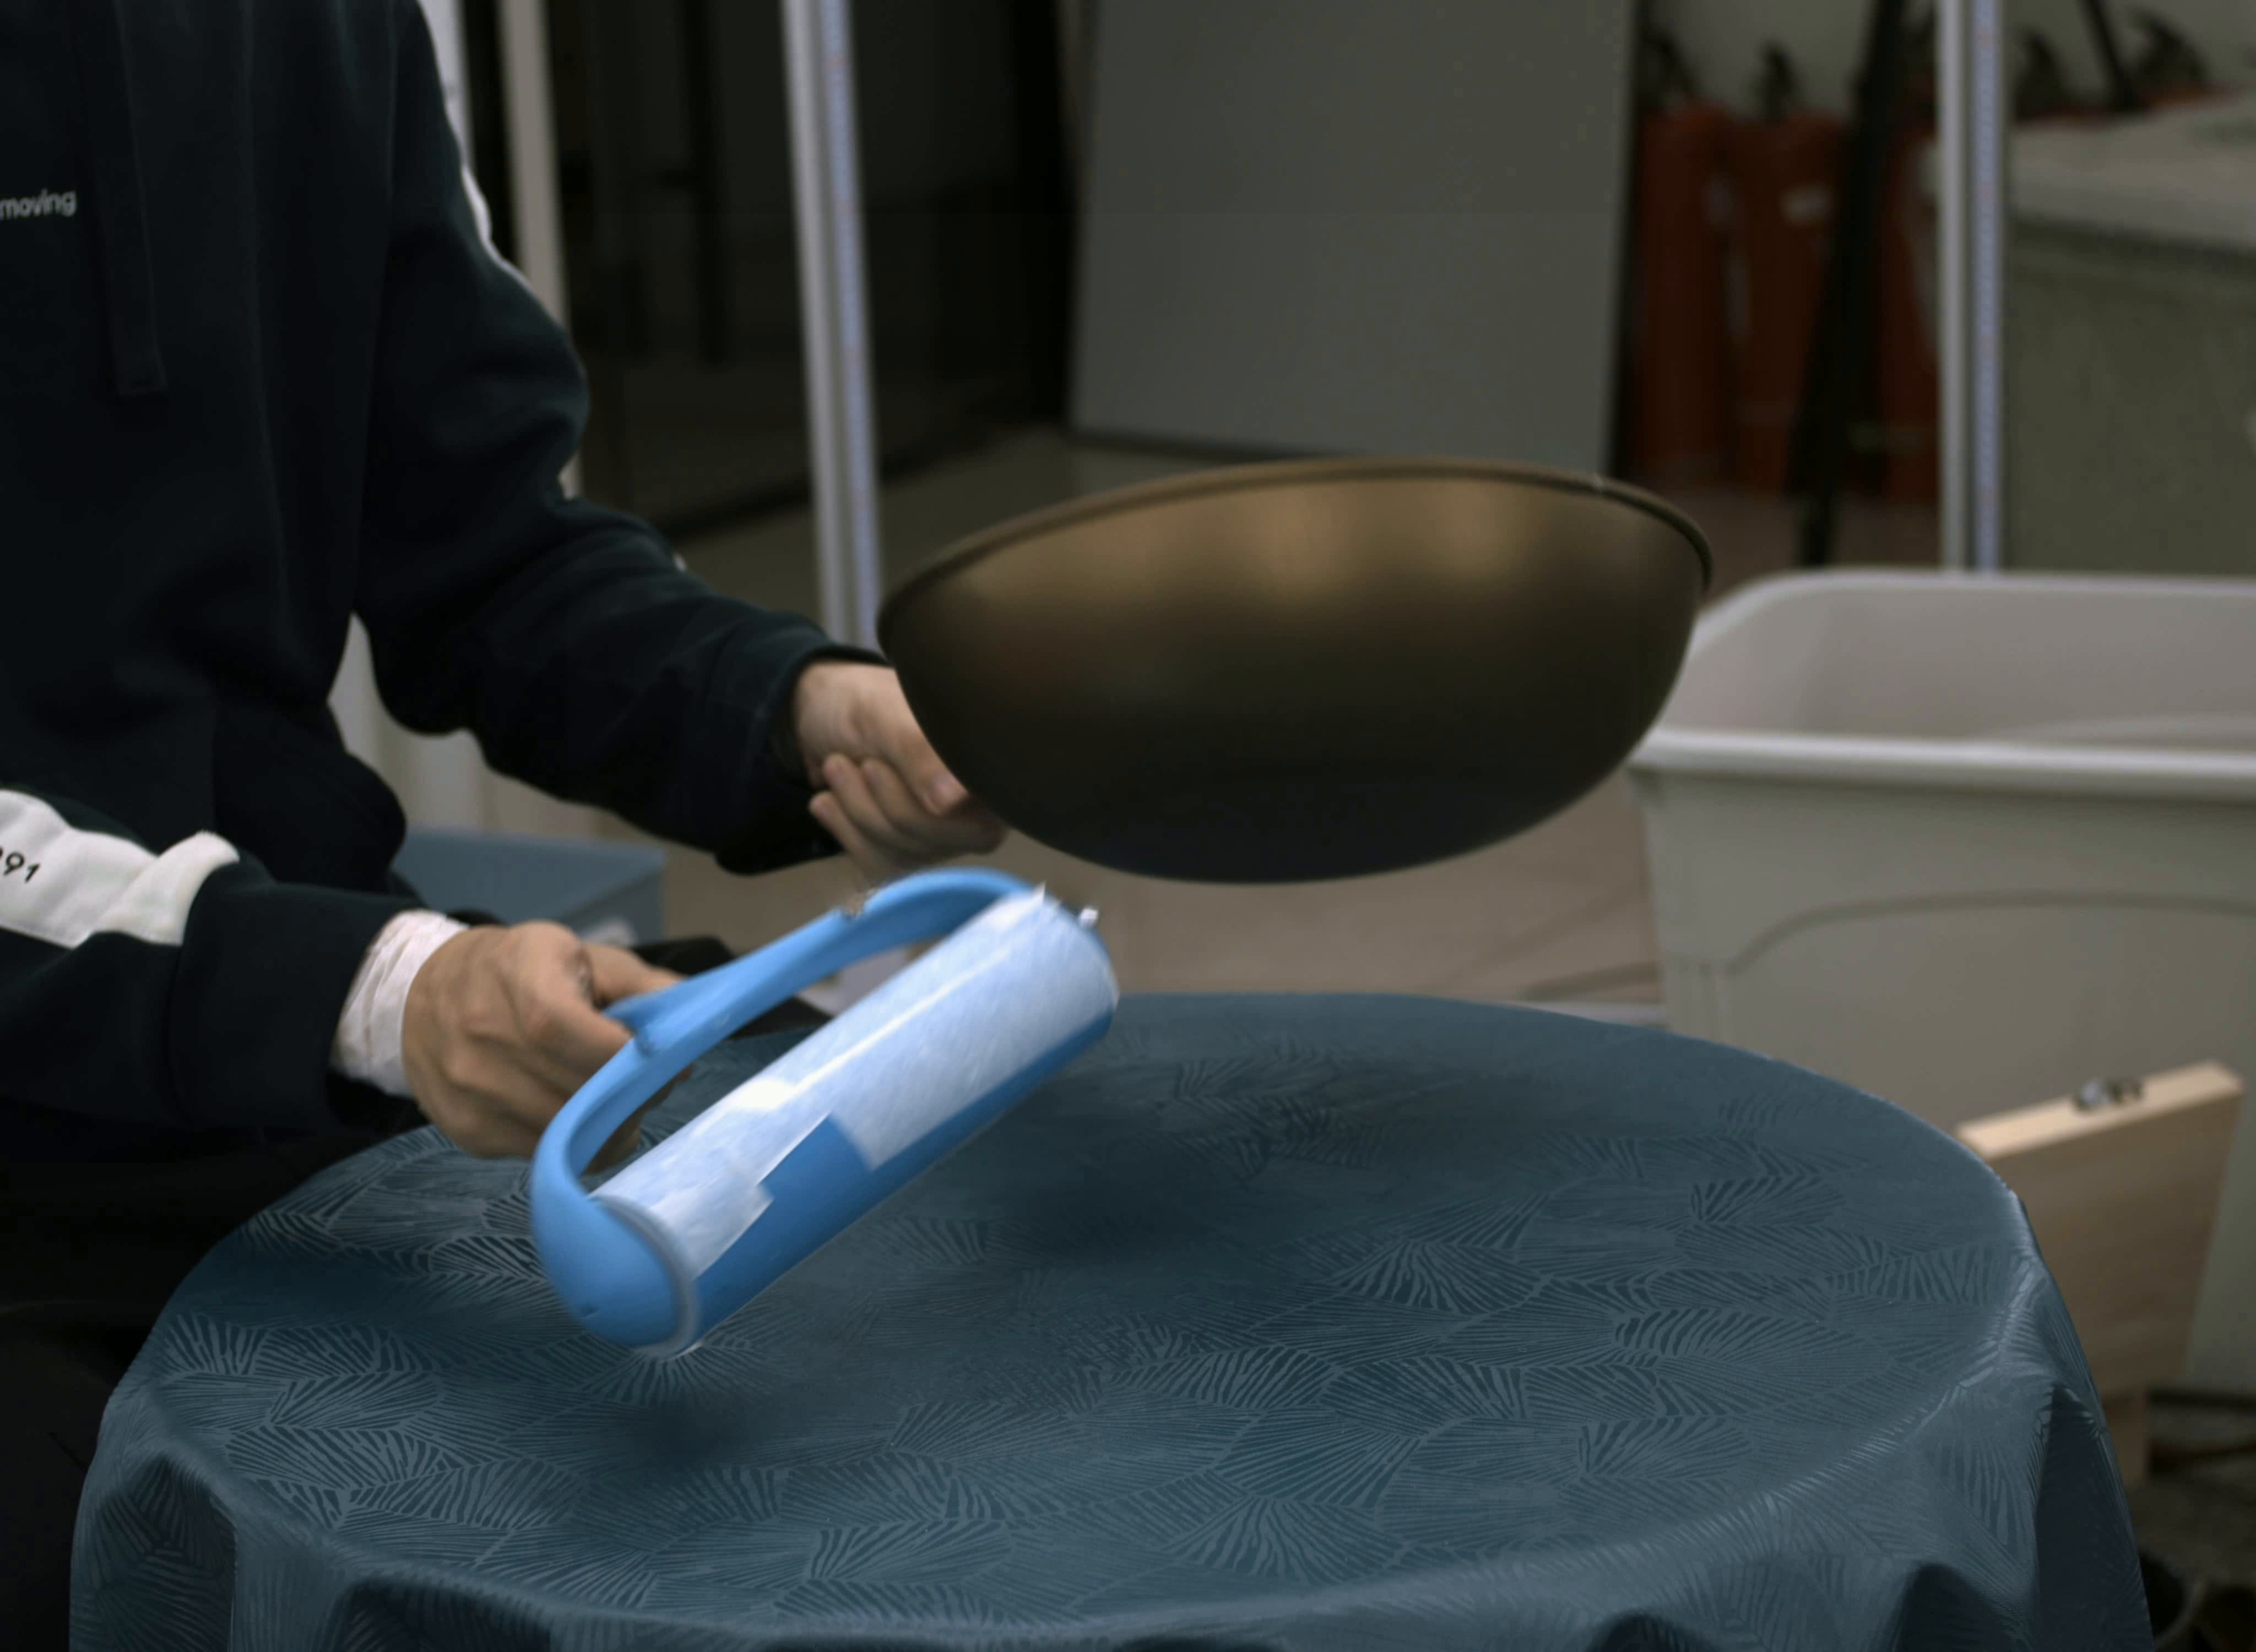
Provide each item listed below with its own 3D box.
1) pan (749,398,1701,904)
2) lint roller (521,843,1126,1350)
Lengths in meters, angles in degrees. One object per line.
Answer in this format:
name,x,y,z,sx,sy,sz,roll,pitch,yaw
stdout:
pan,-0.001,-0.018,1.841,0.281,0.088,0.468,10,-24,-36
lint roller,-0.124,0.076,1.635,0.181,0.068,0.226,5,33,37
